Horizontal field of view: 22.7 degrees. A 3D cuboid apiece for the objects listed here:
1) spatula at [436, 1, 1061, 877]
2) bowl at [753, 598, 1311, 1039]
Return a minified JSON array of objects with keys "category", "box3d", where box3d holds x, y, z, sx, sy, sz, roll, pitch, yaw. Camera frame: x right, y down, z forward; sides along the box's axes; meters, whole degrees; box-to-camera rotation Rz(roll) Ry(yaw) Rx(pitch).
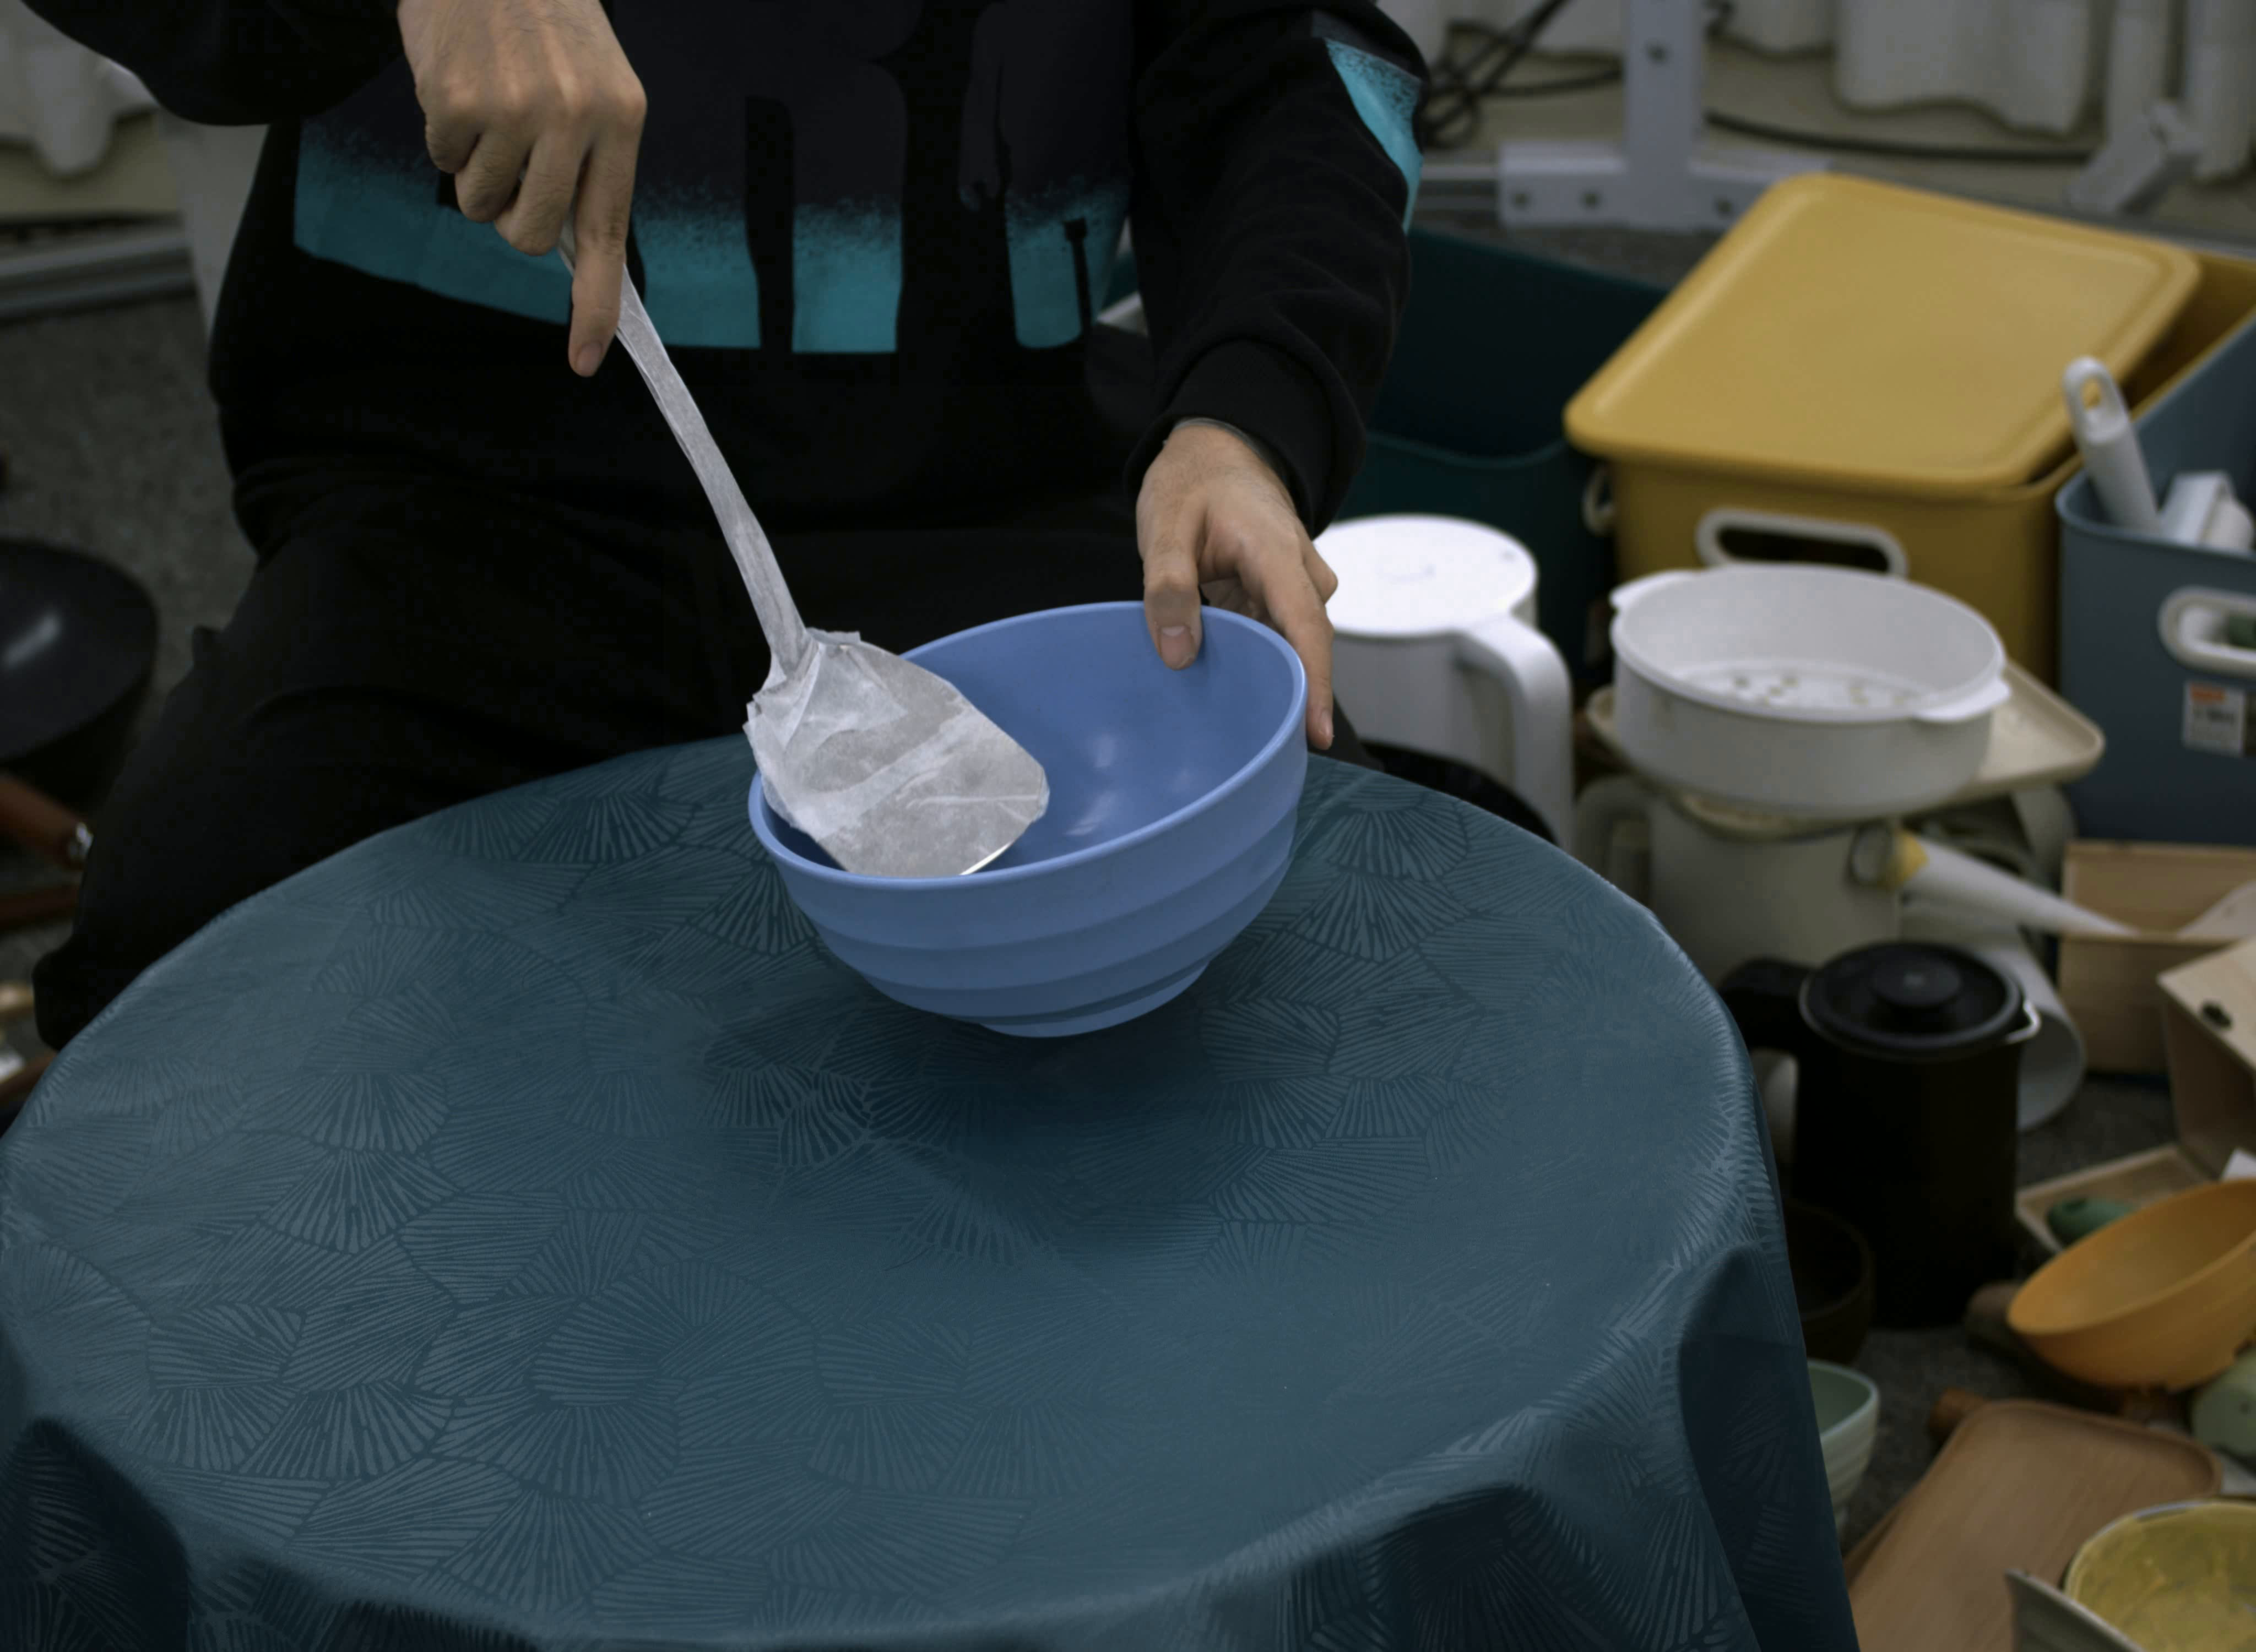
[{"category":"spatula","box3d":[-0.146,-0.139,1.955,0.100,0.365,0.044,-29,1,-39]},{"category":"bowl","box3d":[-0.023,0.009,1.934,0.195,0.094,0.199,-12,27,6]}]
